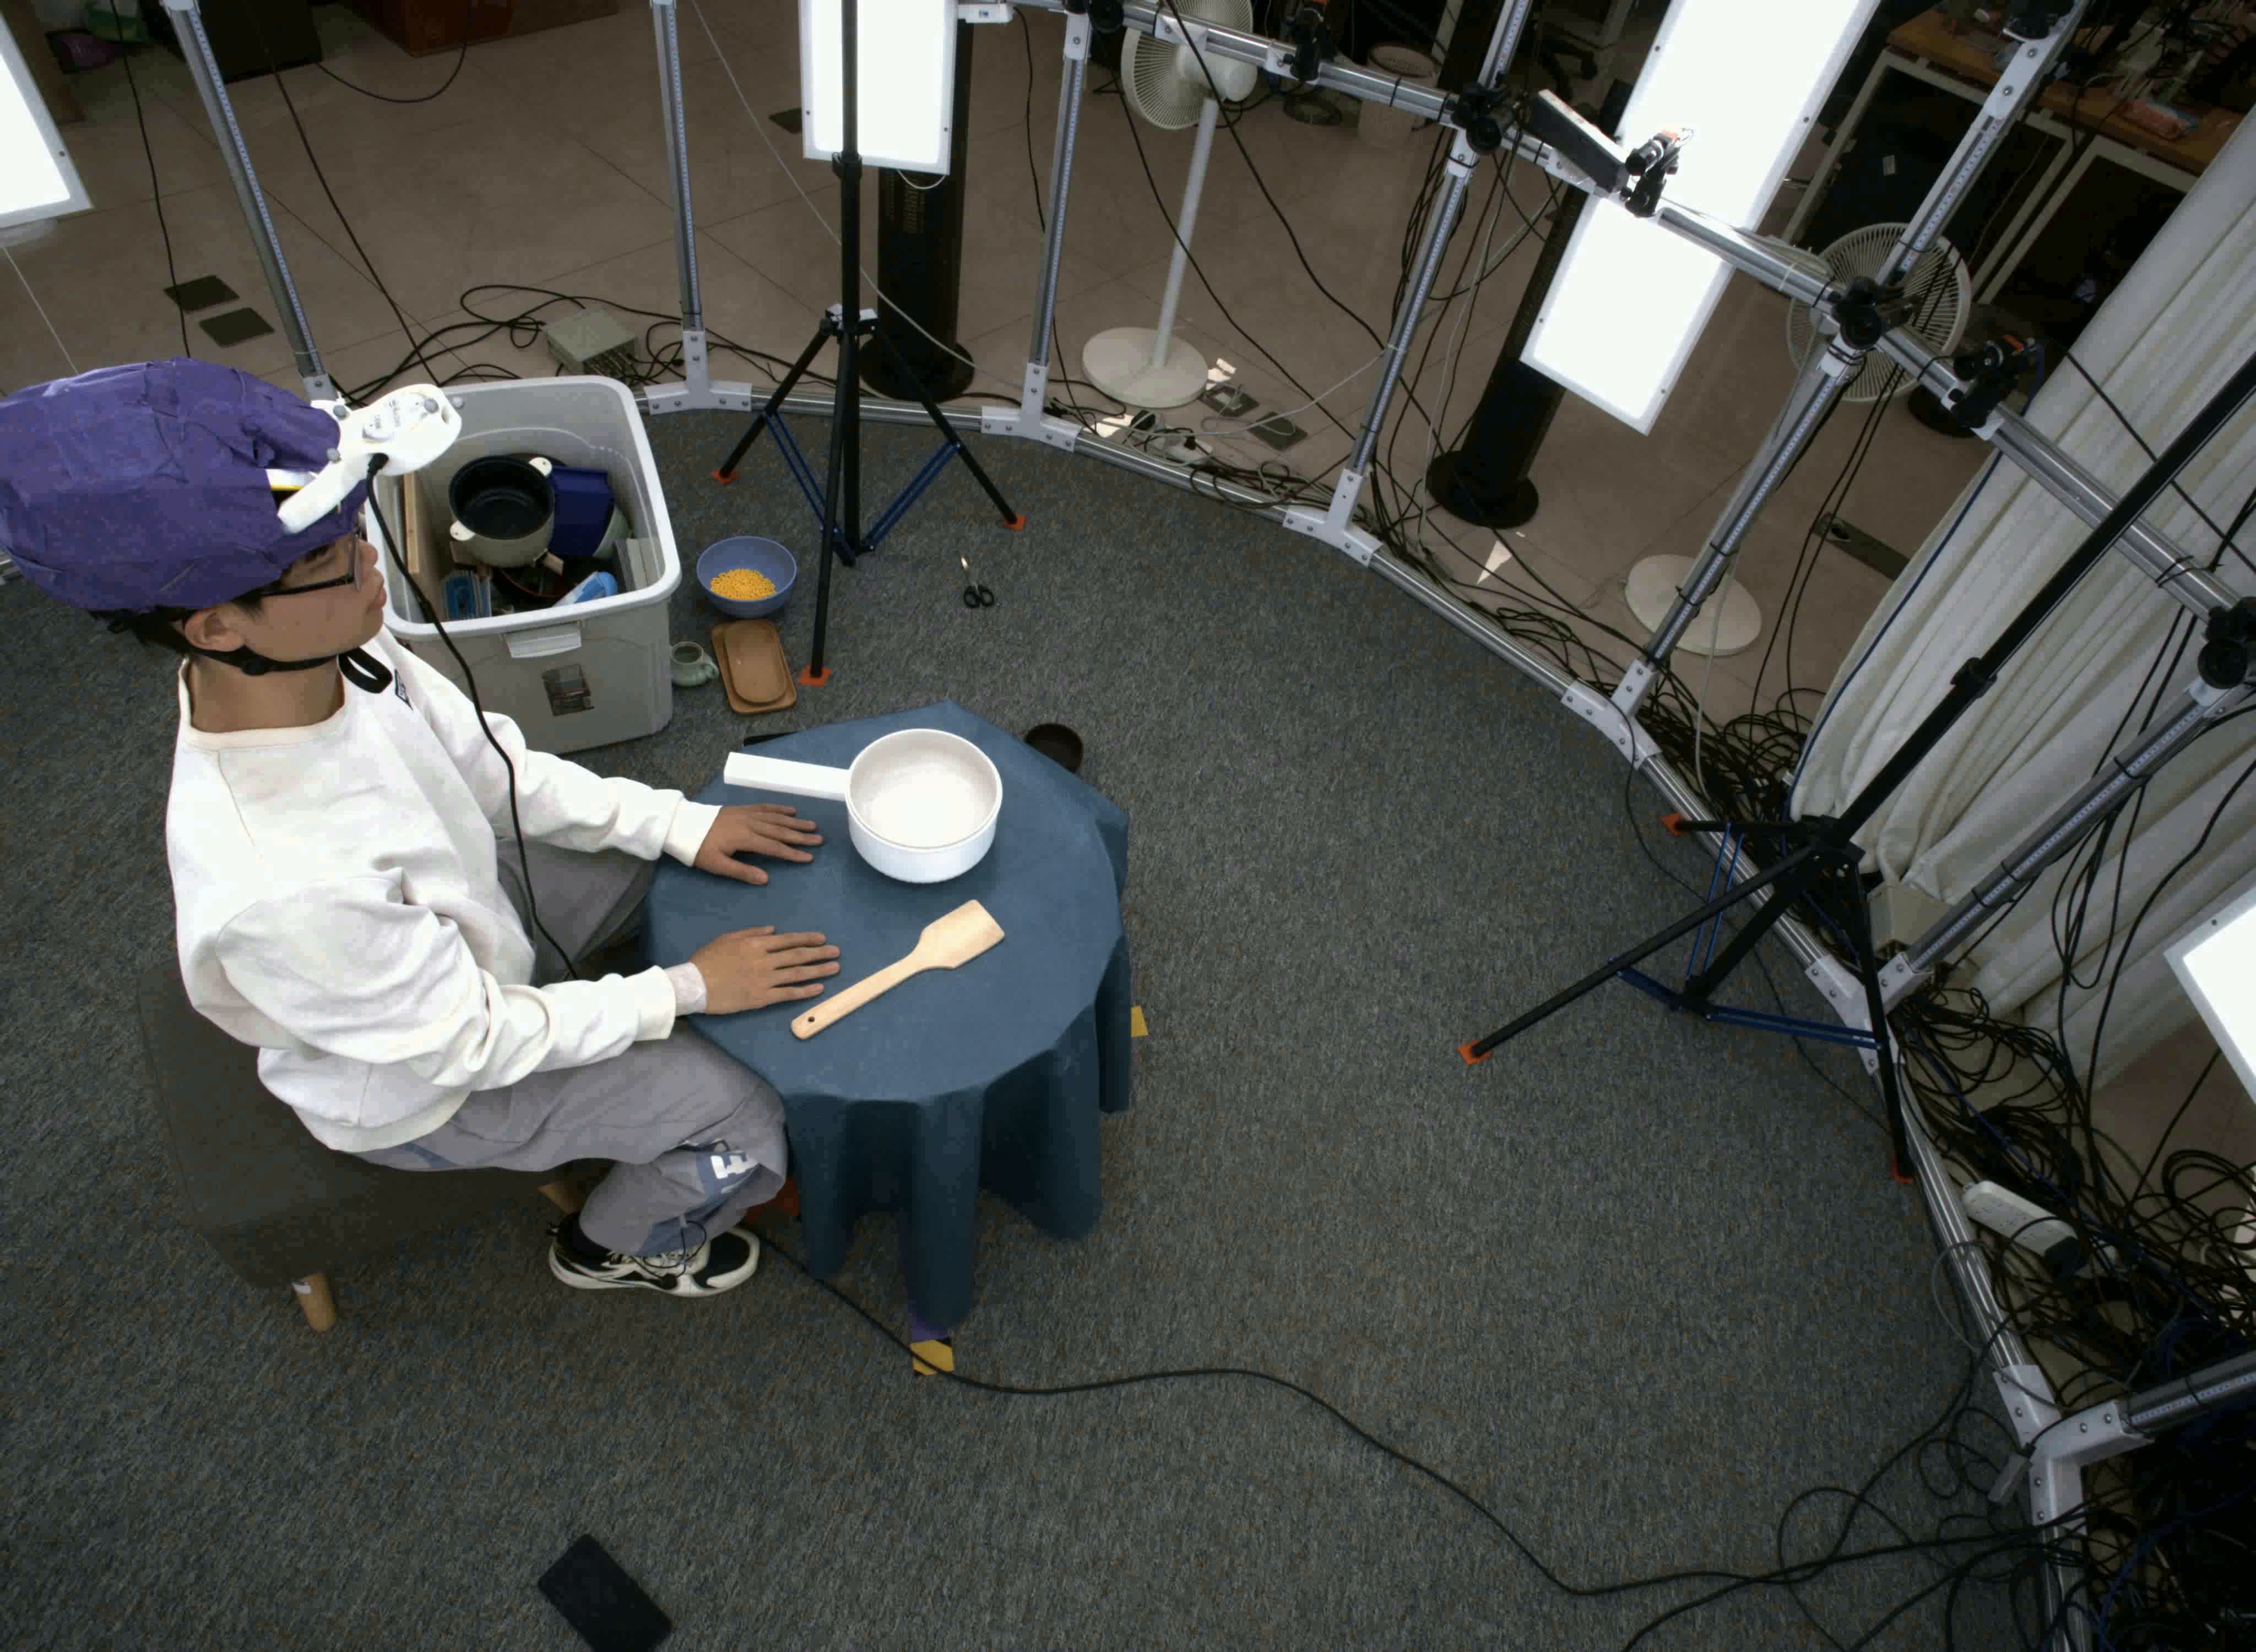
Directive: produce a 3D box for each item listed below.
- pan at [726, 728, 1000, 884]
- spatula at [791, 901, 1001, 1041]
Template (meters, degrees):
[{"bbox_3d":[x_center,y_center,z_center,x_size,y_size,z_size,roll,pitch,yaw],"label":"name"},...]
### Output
[{"bbox_3d":[-0.347,-0.032,1.715,0.353,0.104,0.198,8,53,-6],"label":"pan"},{"bbox_3d":[-0.291,0.184,1.624,0.294,0.011,0.070,-31,67,-30],"label":"spatula"}]
